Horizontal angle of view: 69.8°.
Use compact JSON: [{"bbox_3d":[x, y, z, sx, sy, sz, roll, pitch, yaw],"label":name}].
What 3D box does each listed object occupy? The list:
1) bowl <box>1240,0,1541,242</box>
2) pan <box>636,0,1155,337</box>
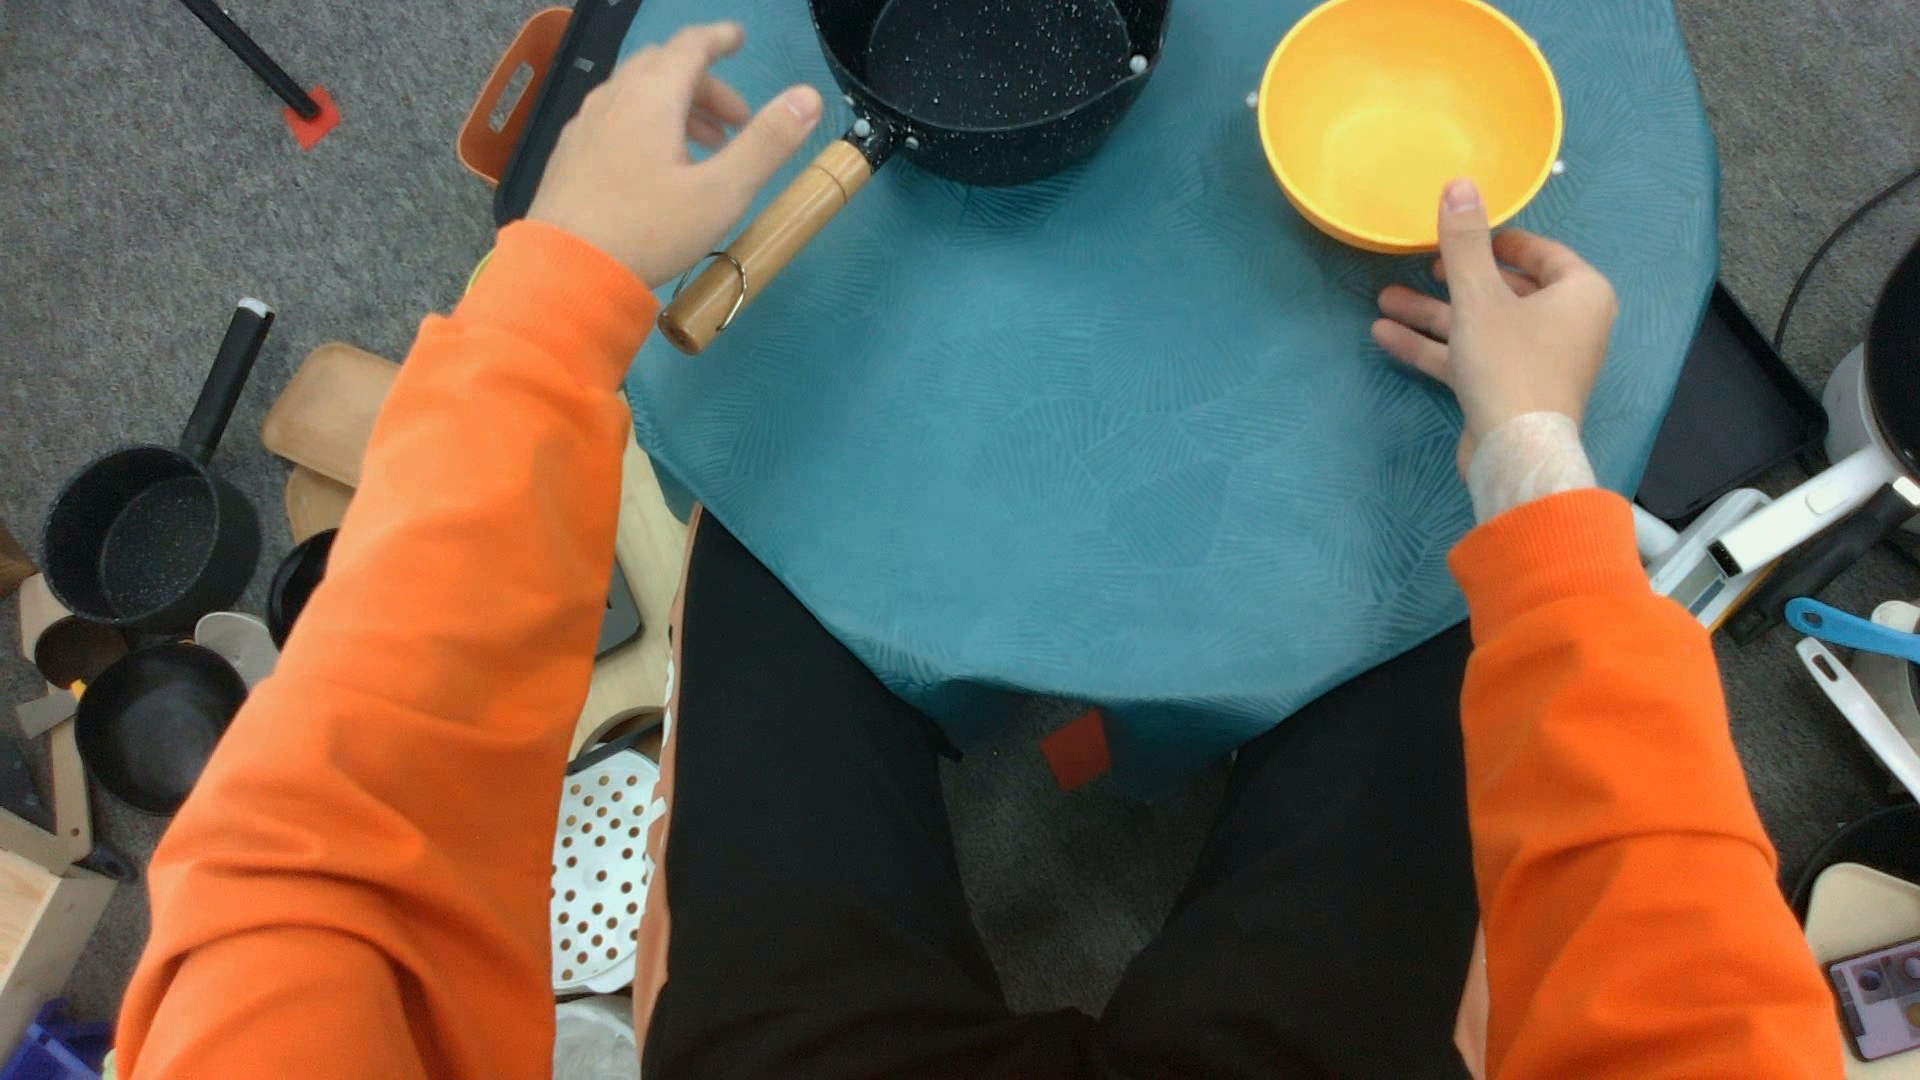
[{"bbox_3d":[0.214,-0.209,0.705,0.145,0.060,0.145,-1,75,5],"label":"bowl"},{"bbox_3d":[-0.037,-0.220,0.699,0.207,0.108,0.343,33,78,10],"label":"pan"}]
